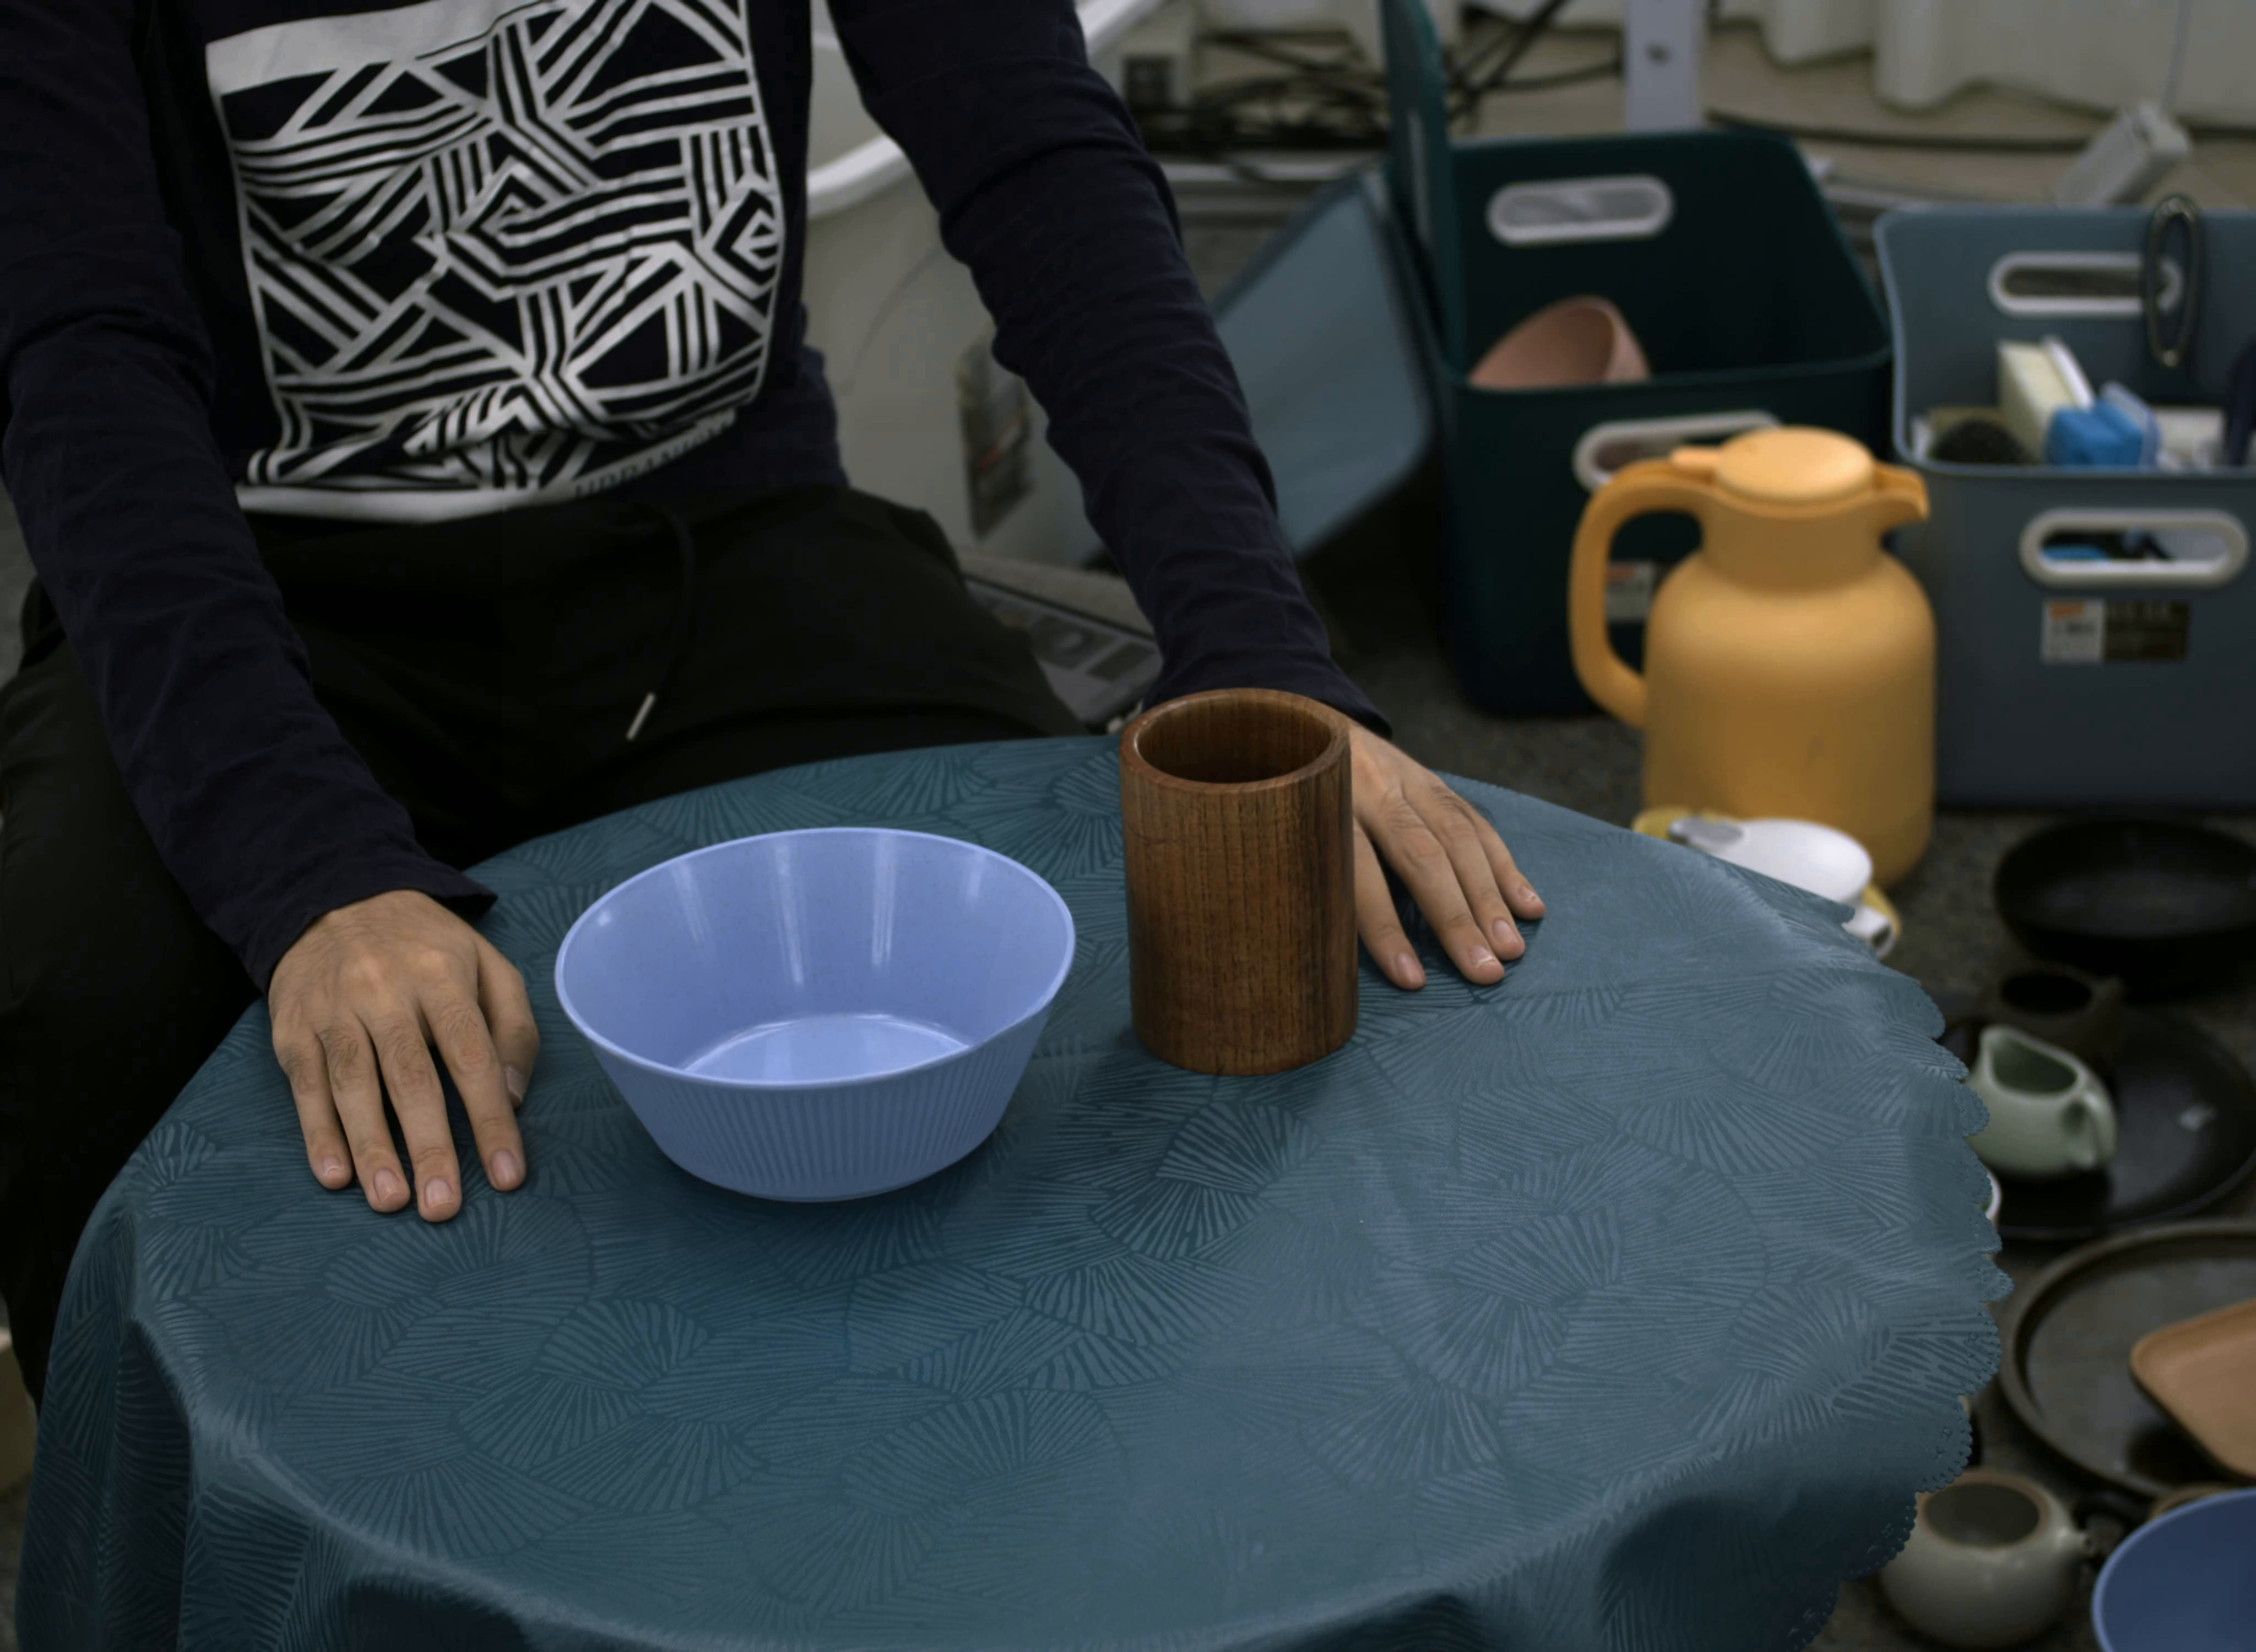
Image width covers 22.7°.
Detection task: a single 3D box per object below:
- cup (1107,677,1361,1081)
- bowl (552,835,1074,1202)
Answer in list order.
[{"bbox_3d":[0.038,0.018,1.931,0.087,0.117,0.089,-2,24,1],"label":"cup"},{"bbox_3d":[-0.104,0.070,1.893,0.175,0.069,0.178,-2,26,1],"label":"bowl"}]
